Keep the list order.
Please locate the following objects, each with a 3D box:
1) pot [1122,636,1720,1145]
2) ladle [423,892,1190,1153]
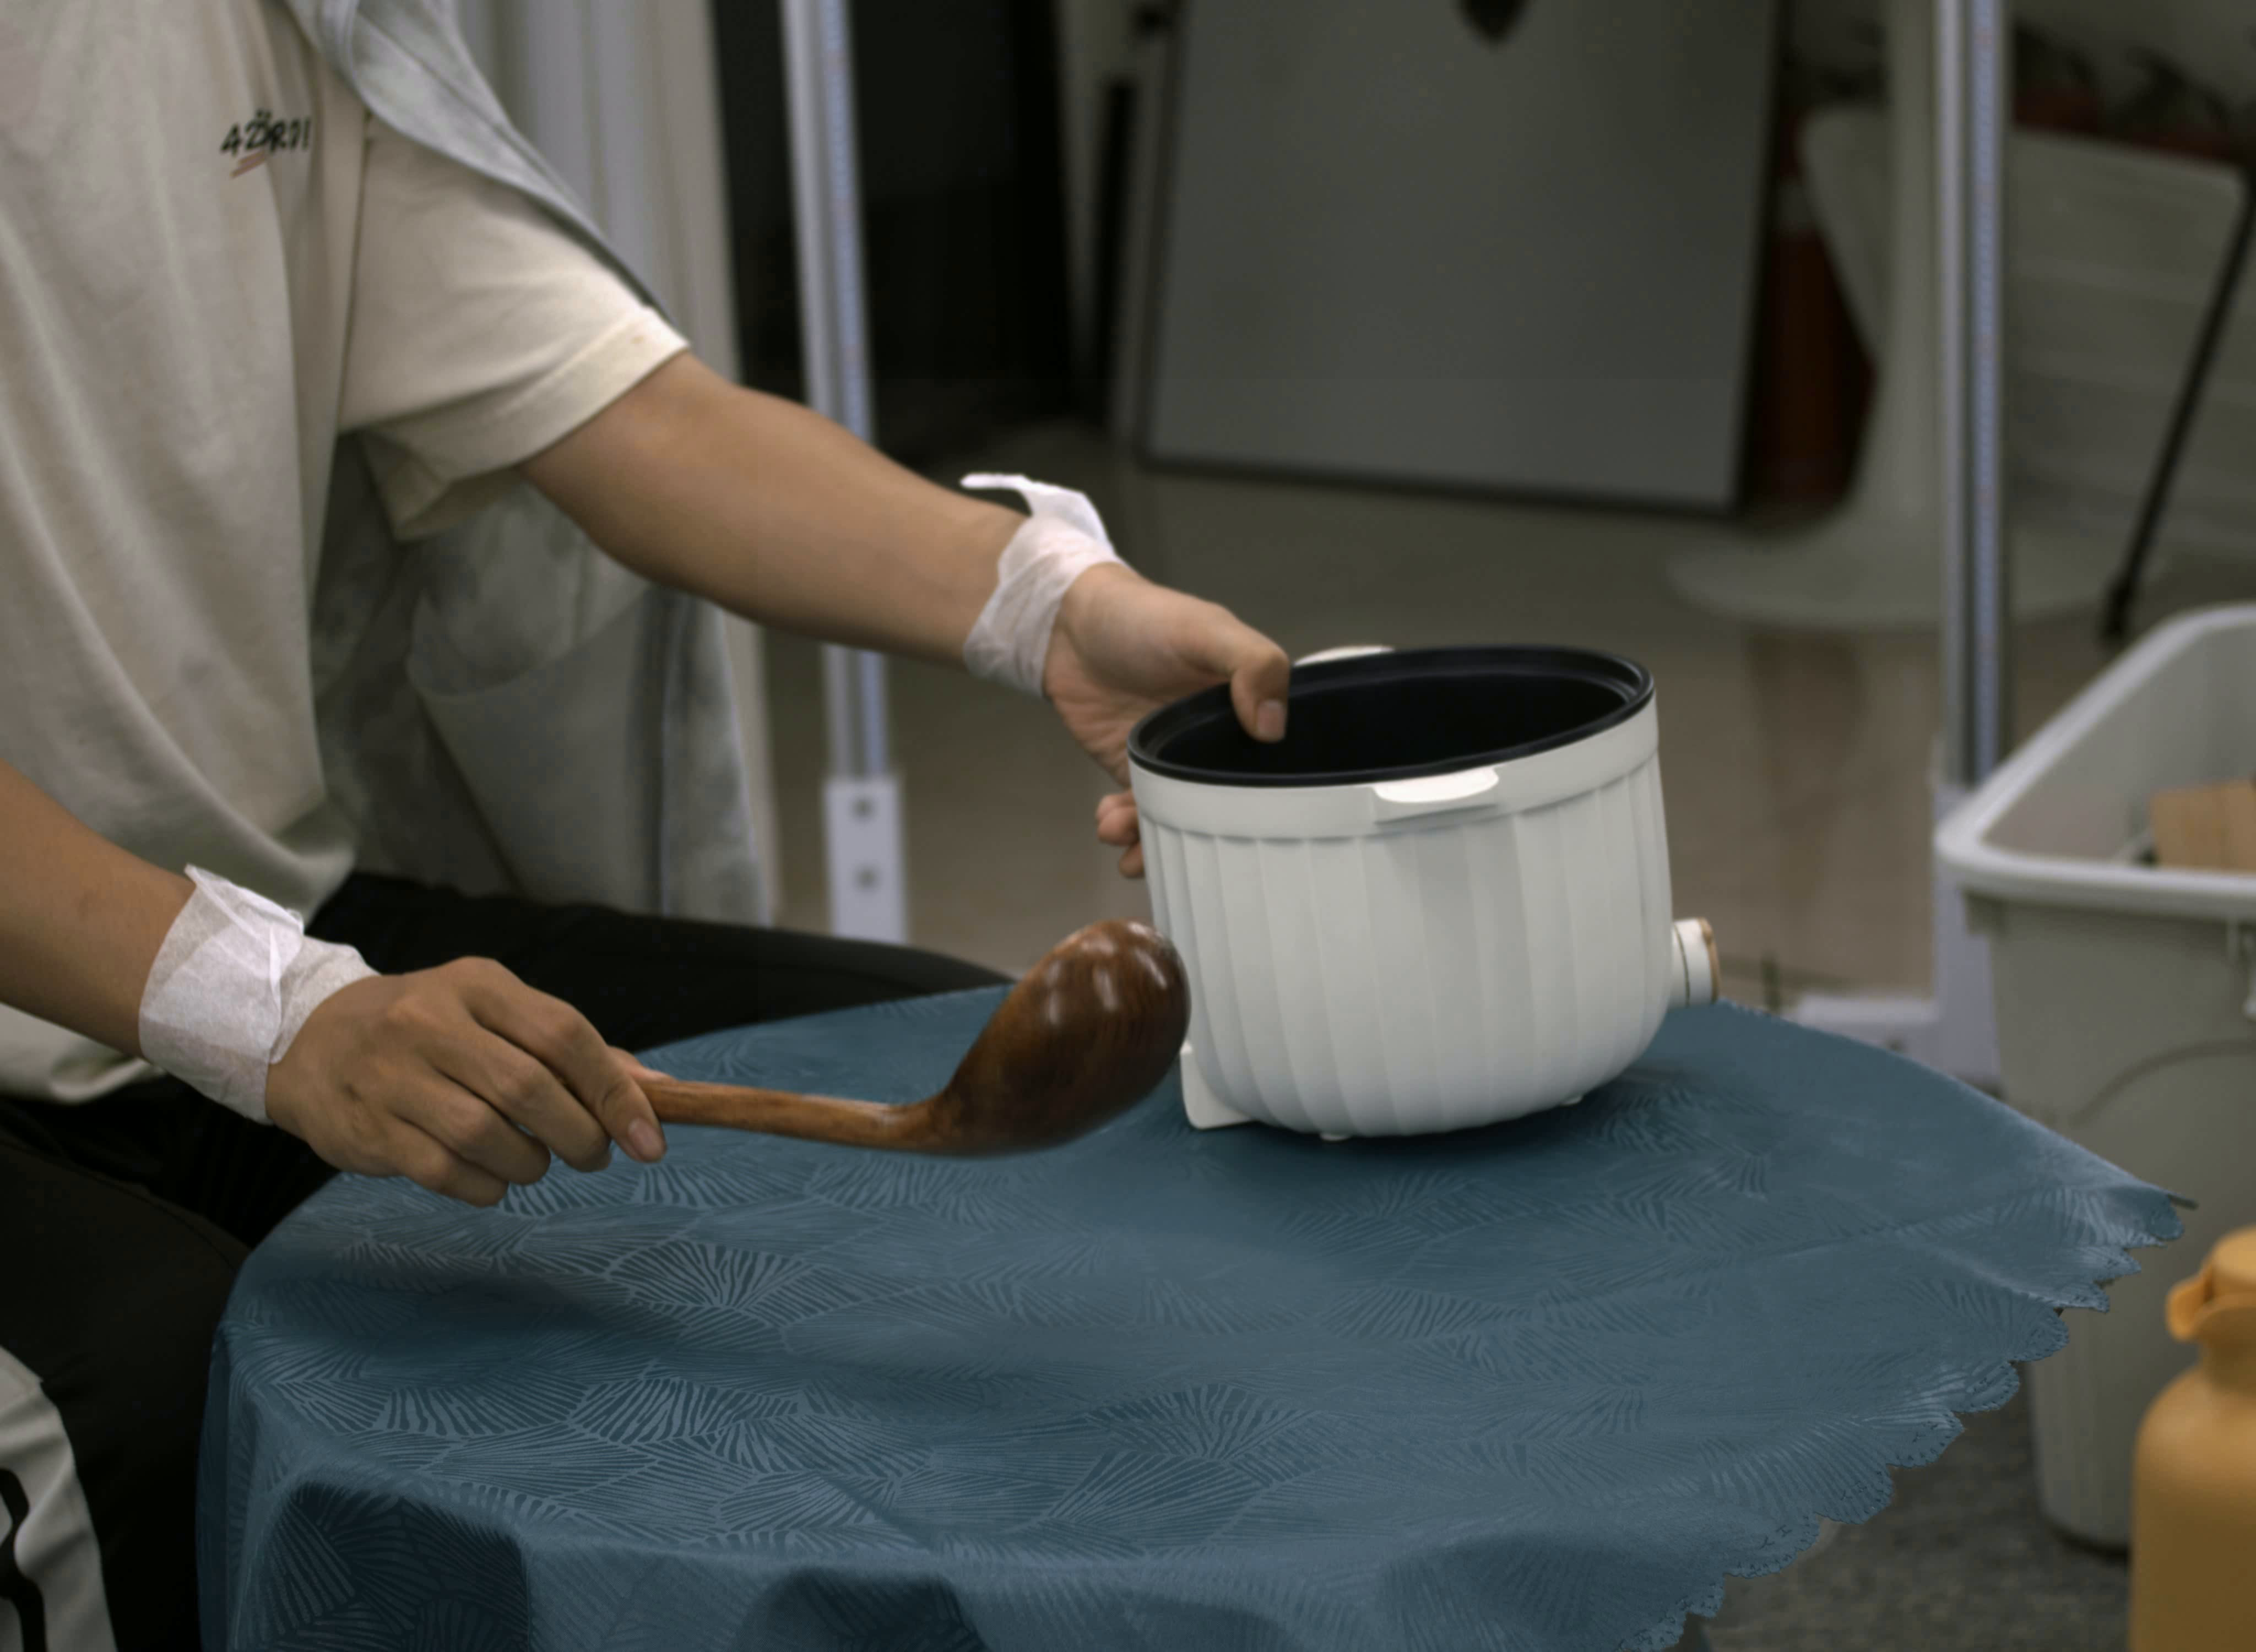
[{"bbox_3d":[0.101,0.022,1.838,0.188,0.144,0.241,-12,14,-3],"label":"pot"},{"bbox_3d":[-0.105,0.060,1.662,0.275,0.077,0.080,-1,-16,33],"label":"ladle"}]
